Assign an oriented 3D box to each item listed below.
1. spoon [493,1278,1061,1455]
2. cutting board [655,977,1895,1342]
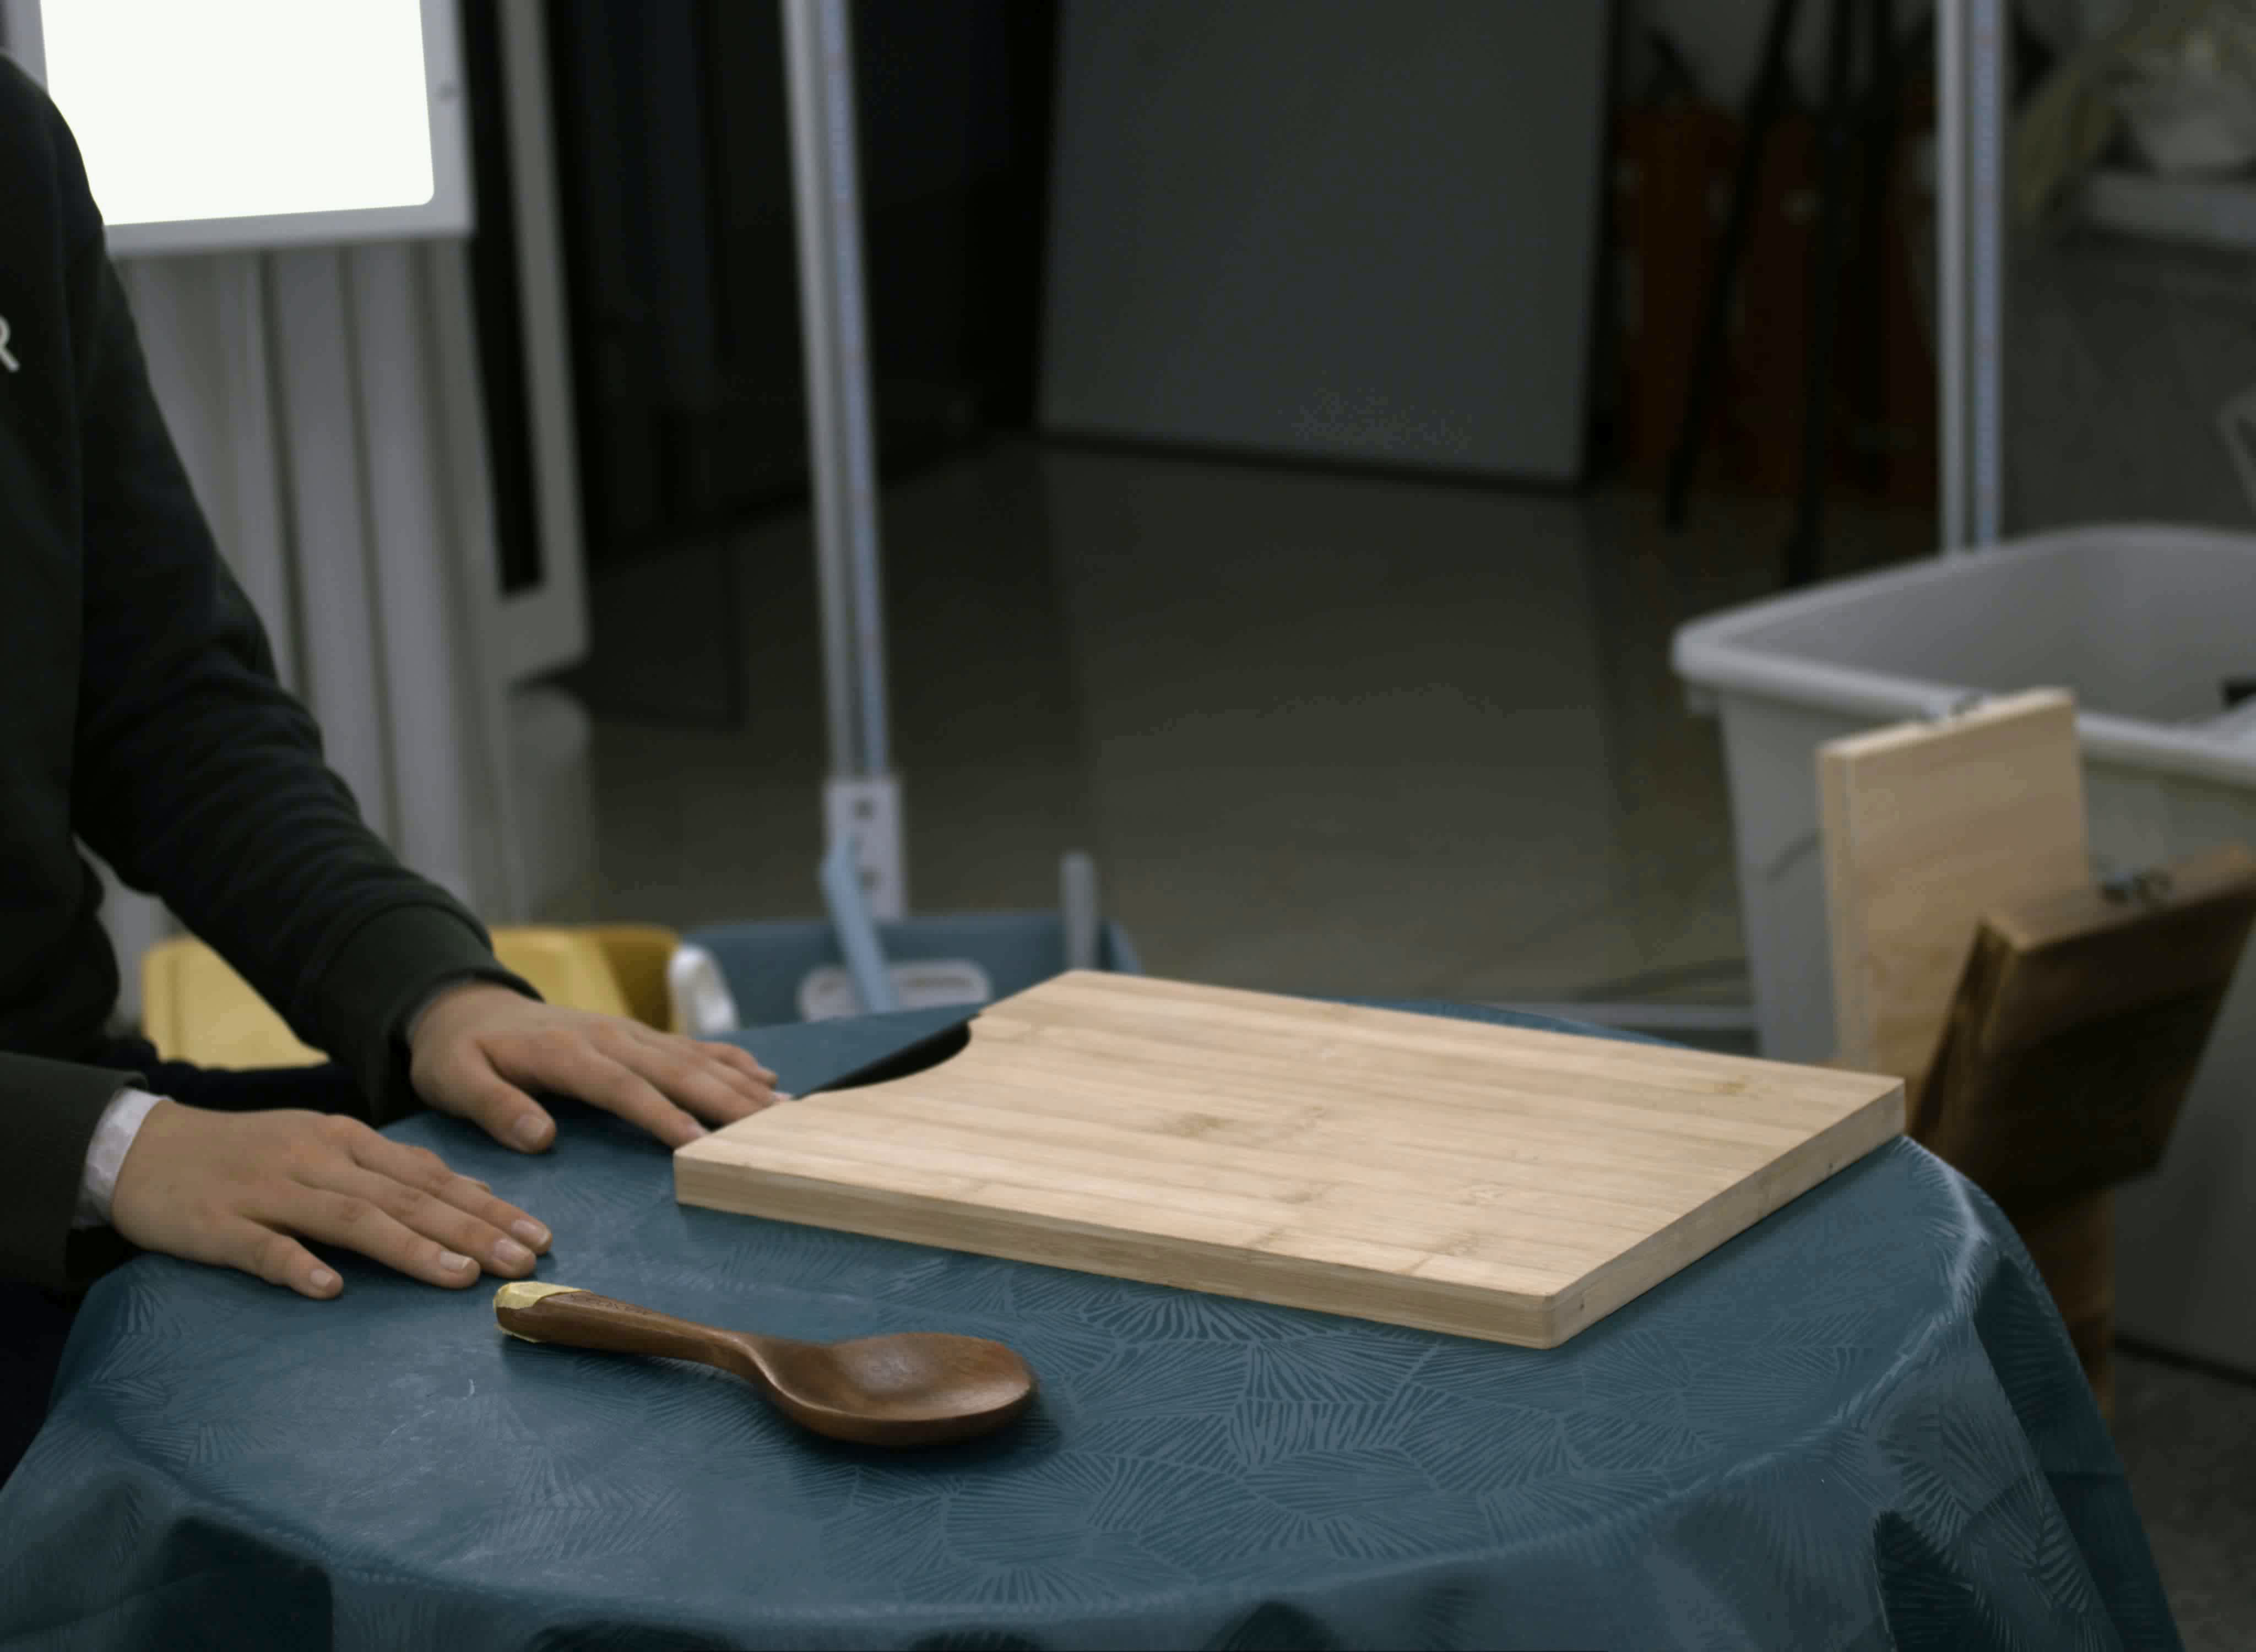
[{"bbox_3d":[-0.109,0.160,1.610,0.217,0.017,0.074,8,20,40],"label":"spoon"},{"bbox_3d":[0.049,0.105,1.788,0.350,0.024,0.246,5,16,34],"label":"cutting board"}]
